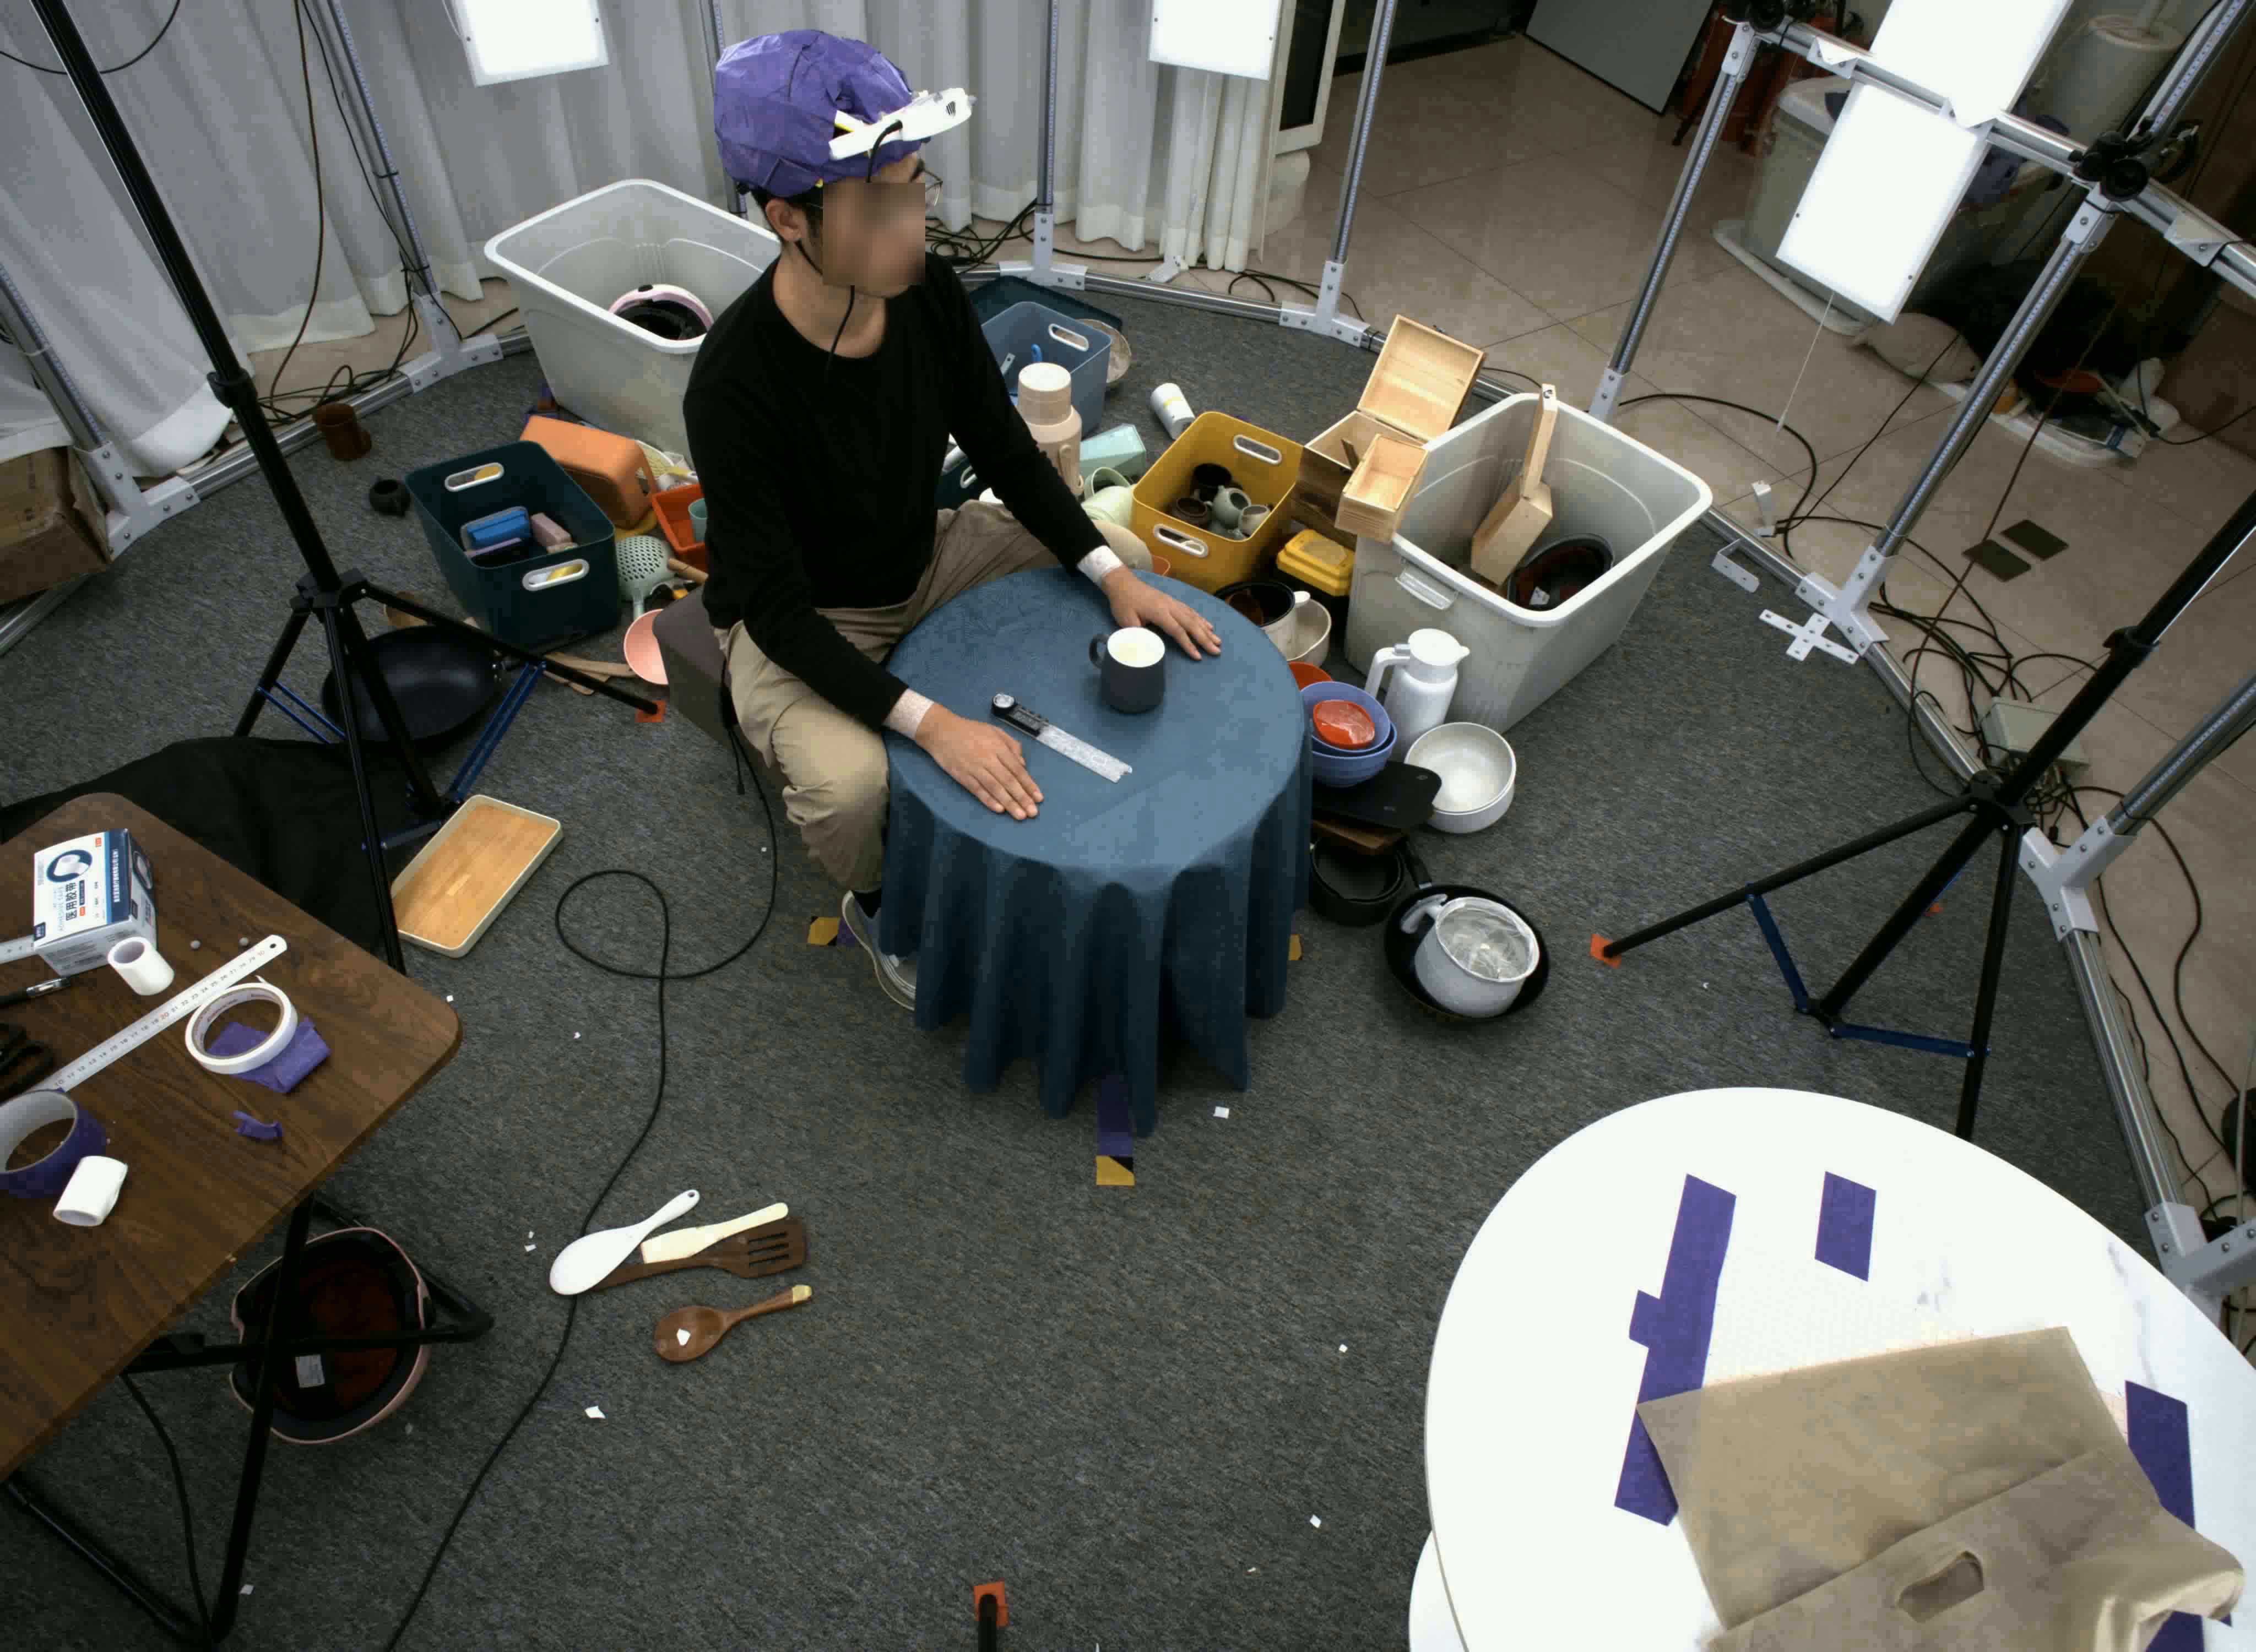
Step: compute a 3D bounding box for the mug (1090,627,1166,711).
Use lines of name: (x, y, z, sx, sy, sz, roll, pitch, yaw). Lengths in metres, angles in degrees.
mug: (-0.003, -0.228, 1.807, 0.125, 0.088, 0.094, 35, 54, 22)

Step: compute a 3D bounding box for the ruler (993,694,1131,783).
ruler: (-0.095, -0.124, 1.757, 0.220, 0.023, 0.039, 29, 60, 21)
